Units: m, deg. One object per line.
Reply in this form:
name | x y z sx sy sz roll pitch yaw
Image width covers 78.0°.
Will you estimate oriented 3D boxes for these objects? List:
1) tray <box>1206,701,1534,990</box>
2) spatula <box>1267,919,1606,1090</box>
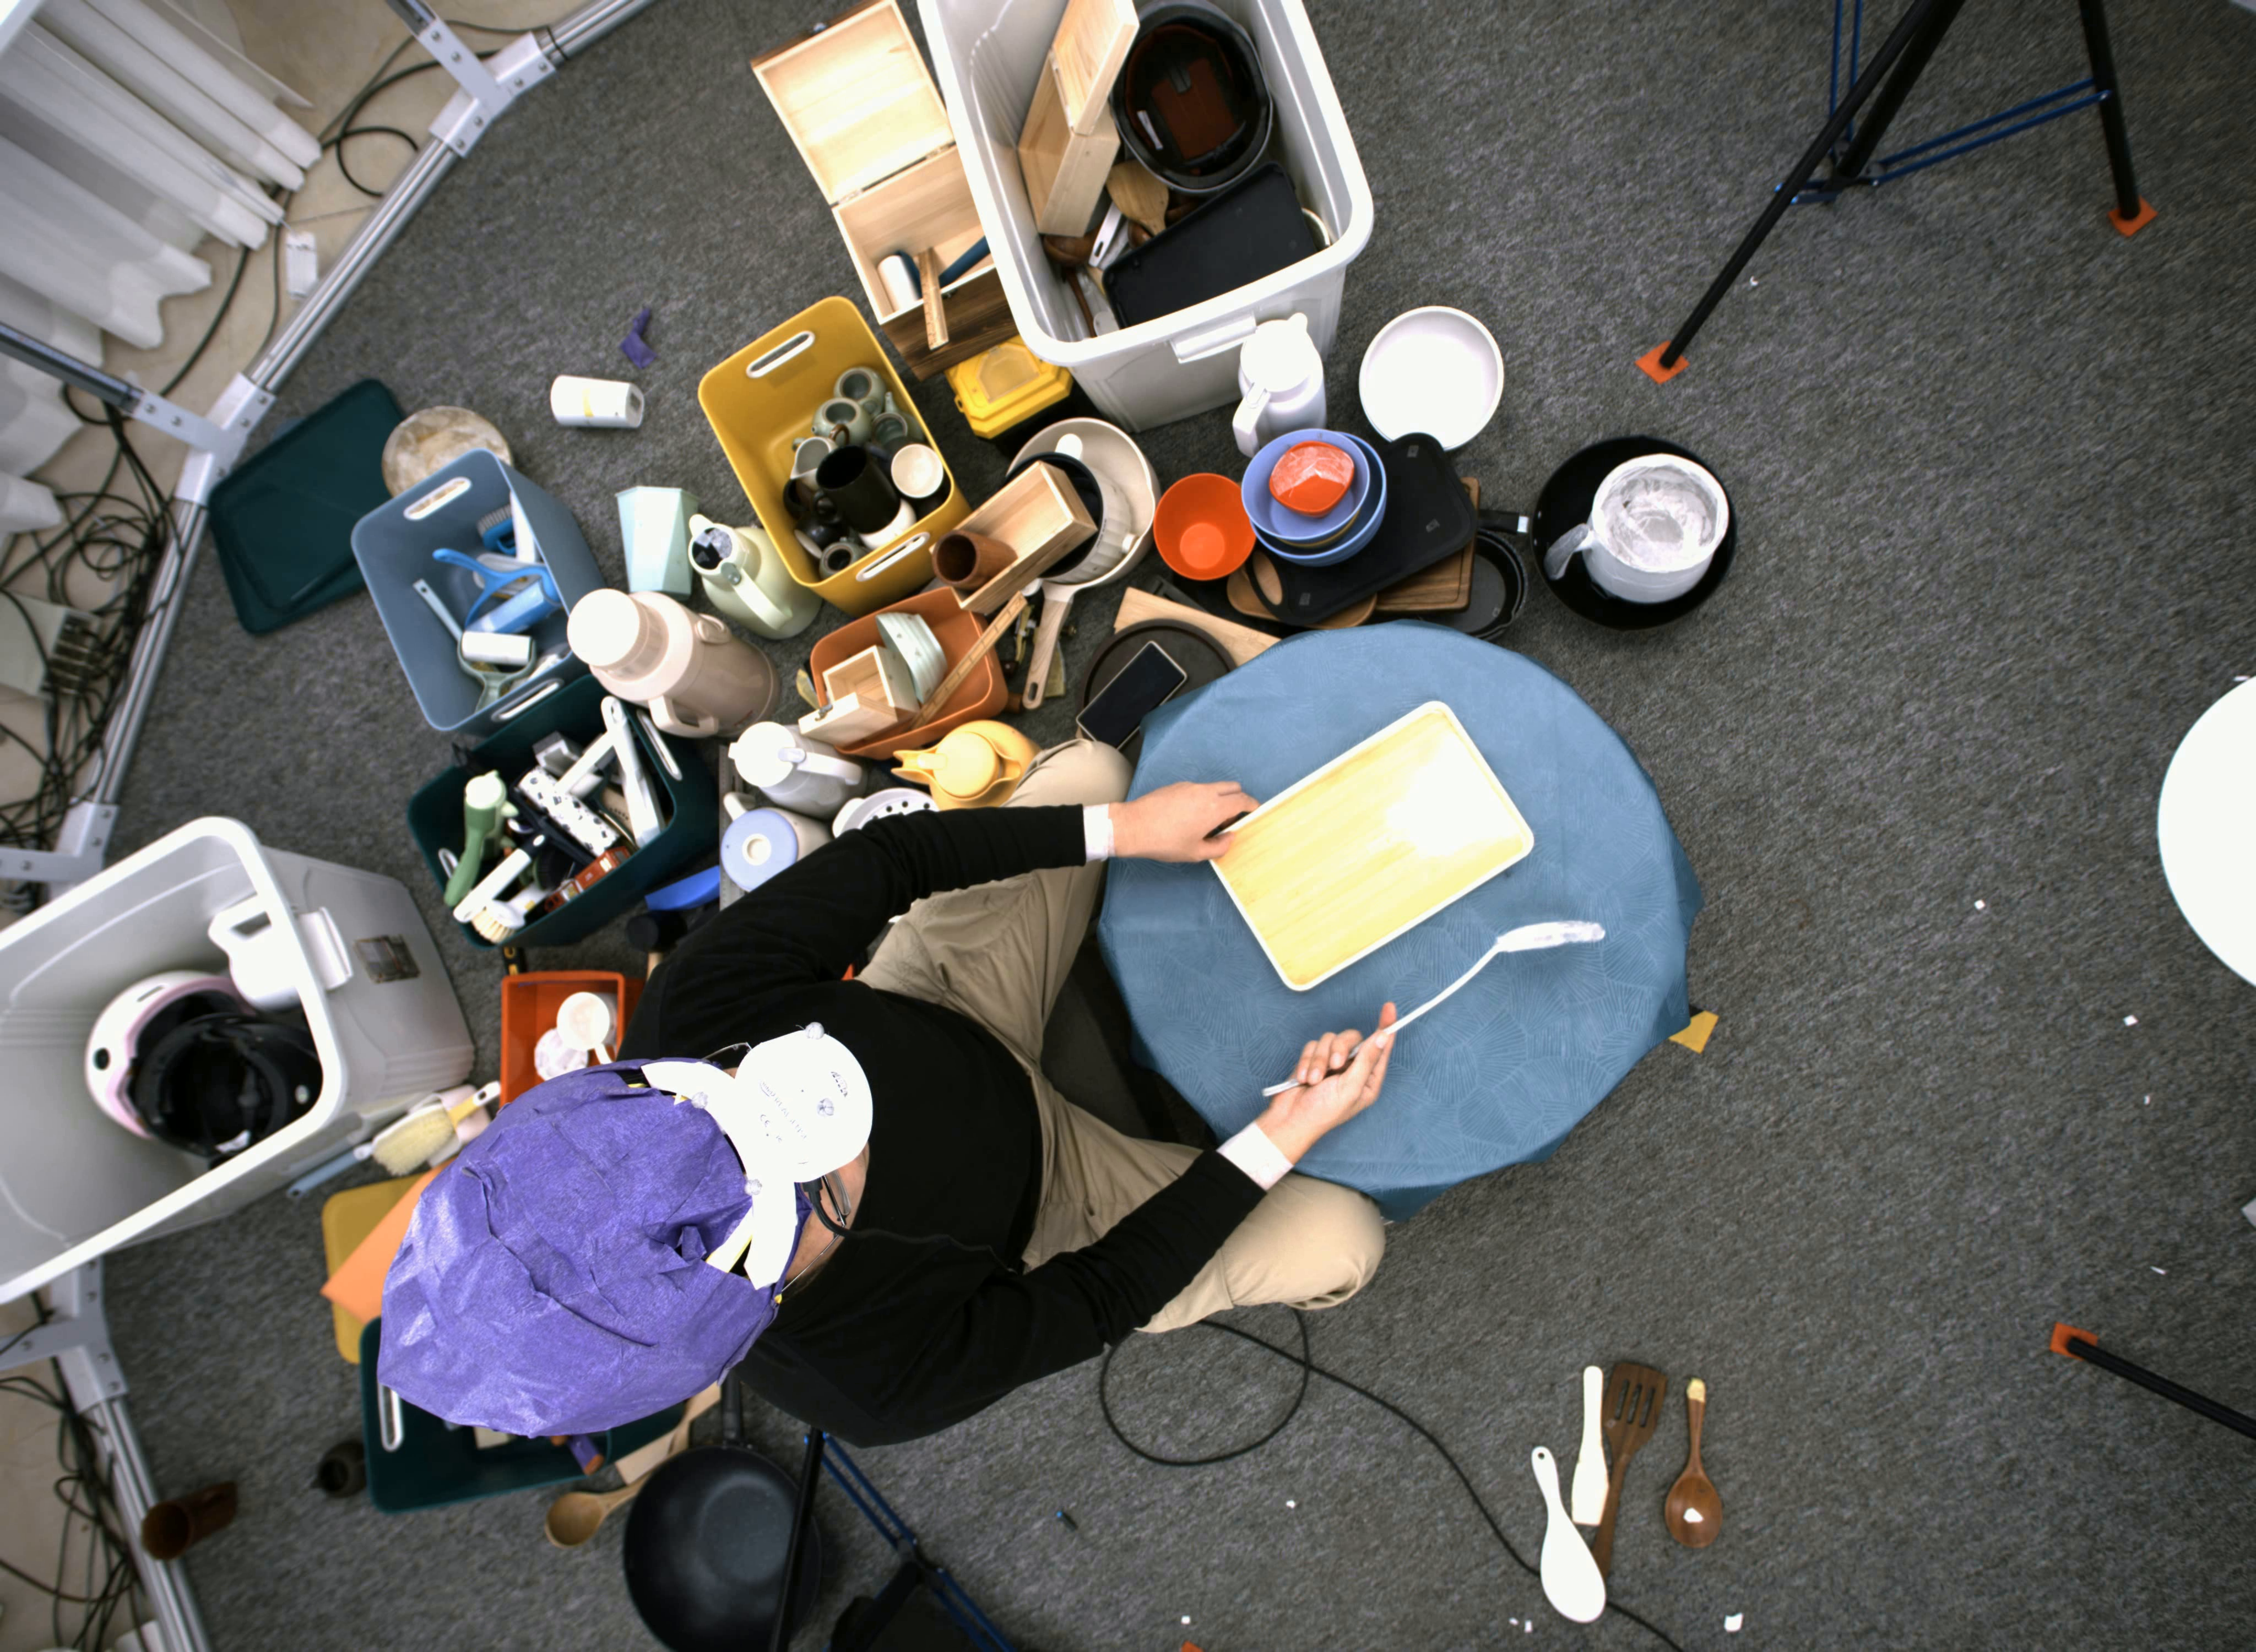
tray | 0.252 0.020 1.453 0.302 0.027 0.190 -32 82 7
spatula | 0.302 0.178 1.375 0.367 0.097 0.045 -33 99 8
